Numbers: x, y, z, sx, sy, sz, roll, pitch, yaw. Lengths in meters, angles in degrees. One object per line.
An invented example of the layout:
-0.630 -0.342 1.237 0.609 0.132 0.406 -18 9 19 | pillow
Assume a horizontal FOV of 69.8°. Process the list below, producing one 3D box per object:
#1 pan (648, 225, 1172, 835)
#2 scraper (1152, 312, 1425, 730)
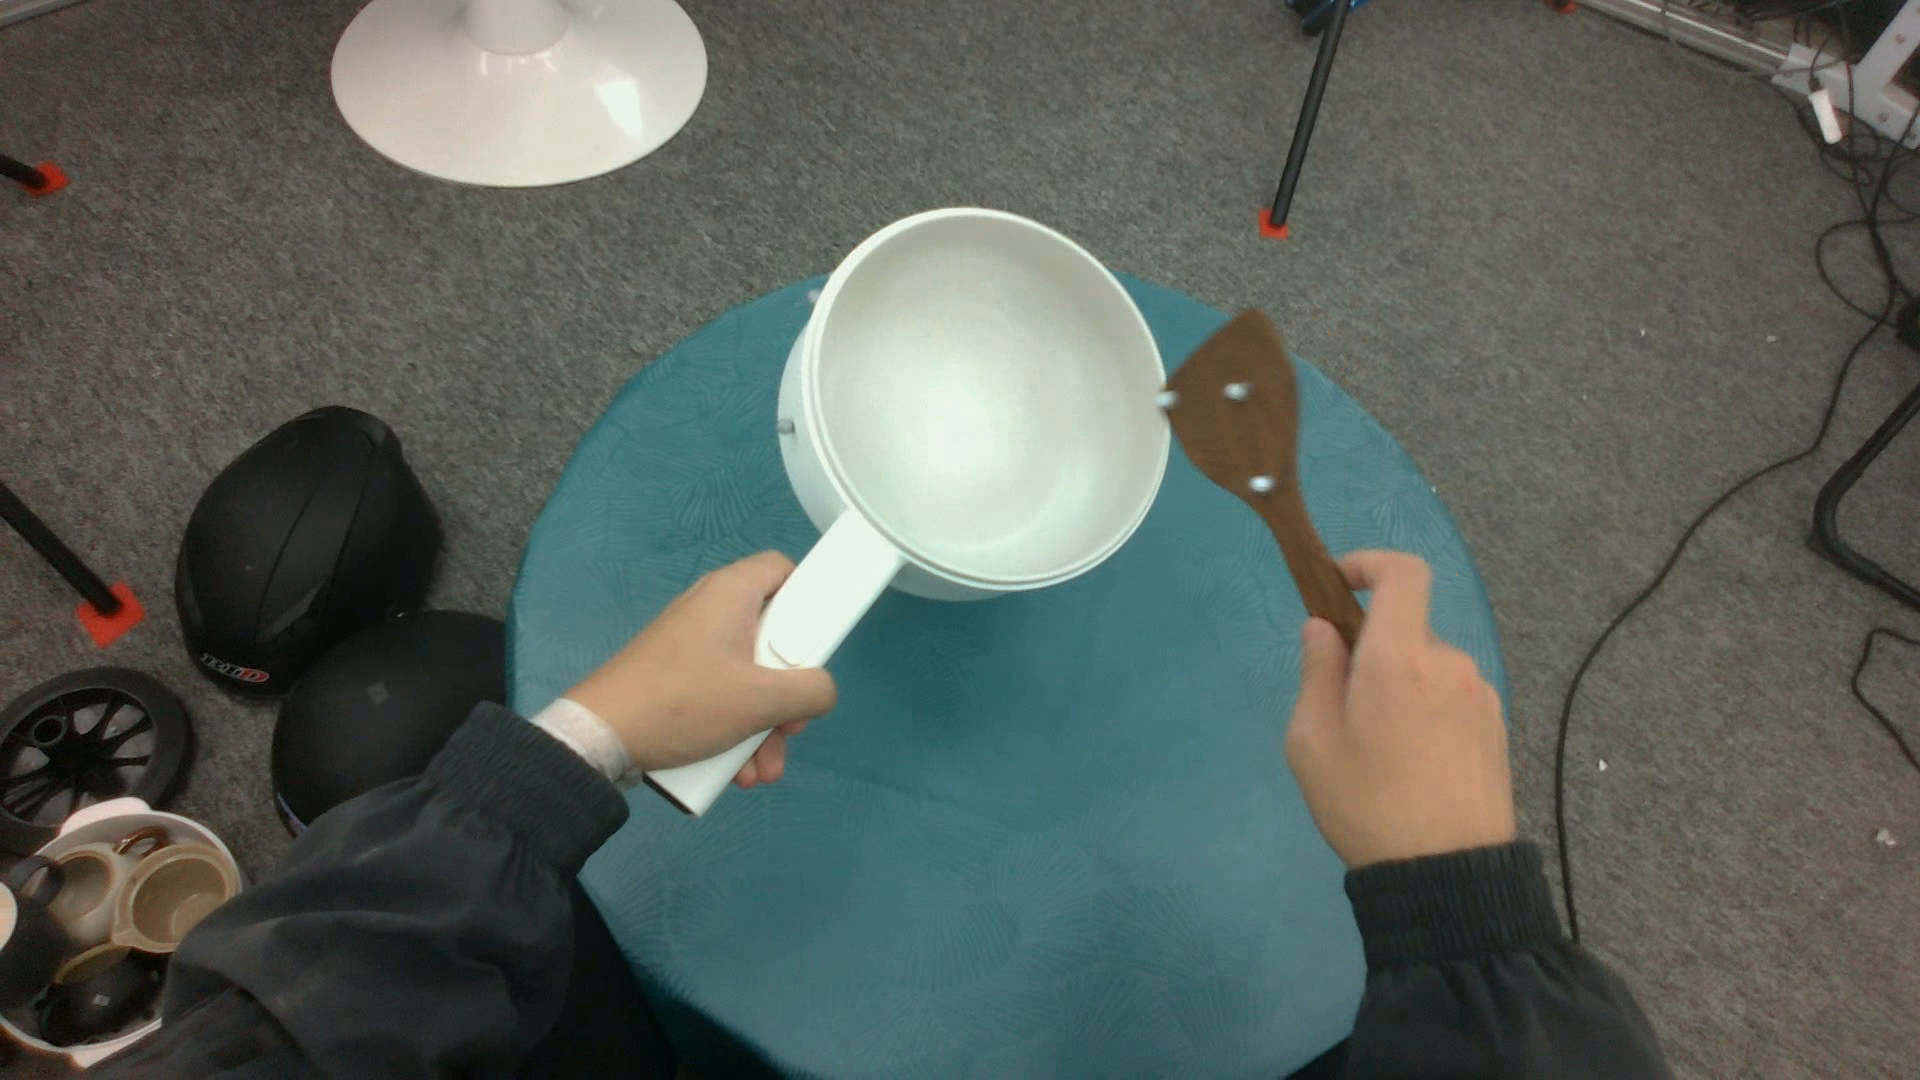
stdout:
-0.037 -0.002 0.723 0.201 0.102 0.356 40 69 -9 | pan
0.154 -0.008 0.637 0.011 0.075 0.212 2 53 -39 | scraper
